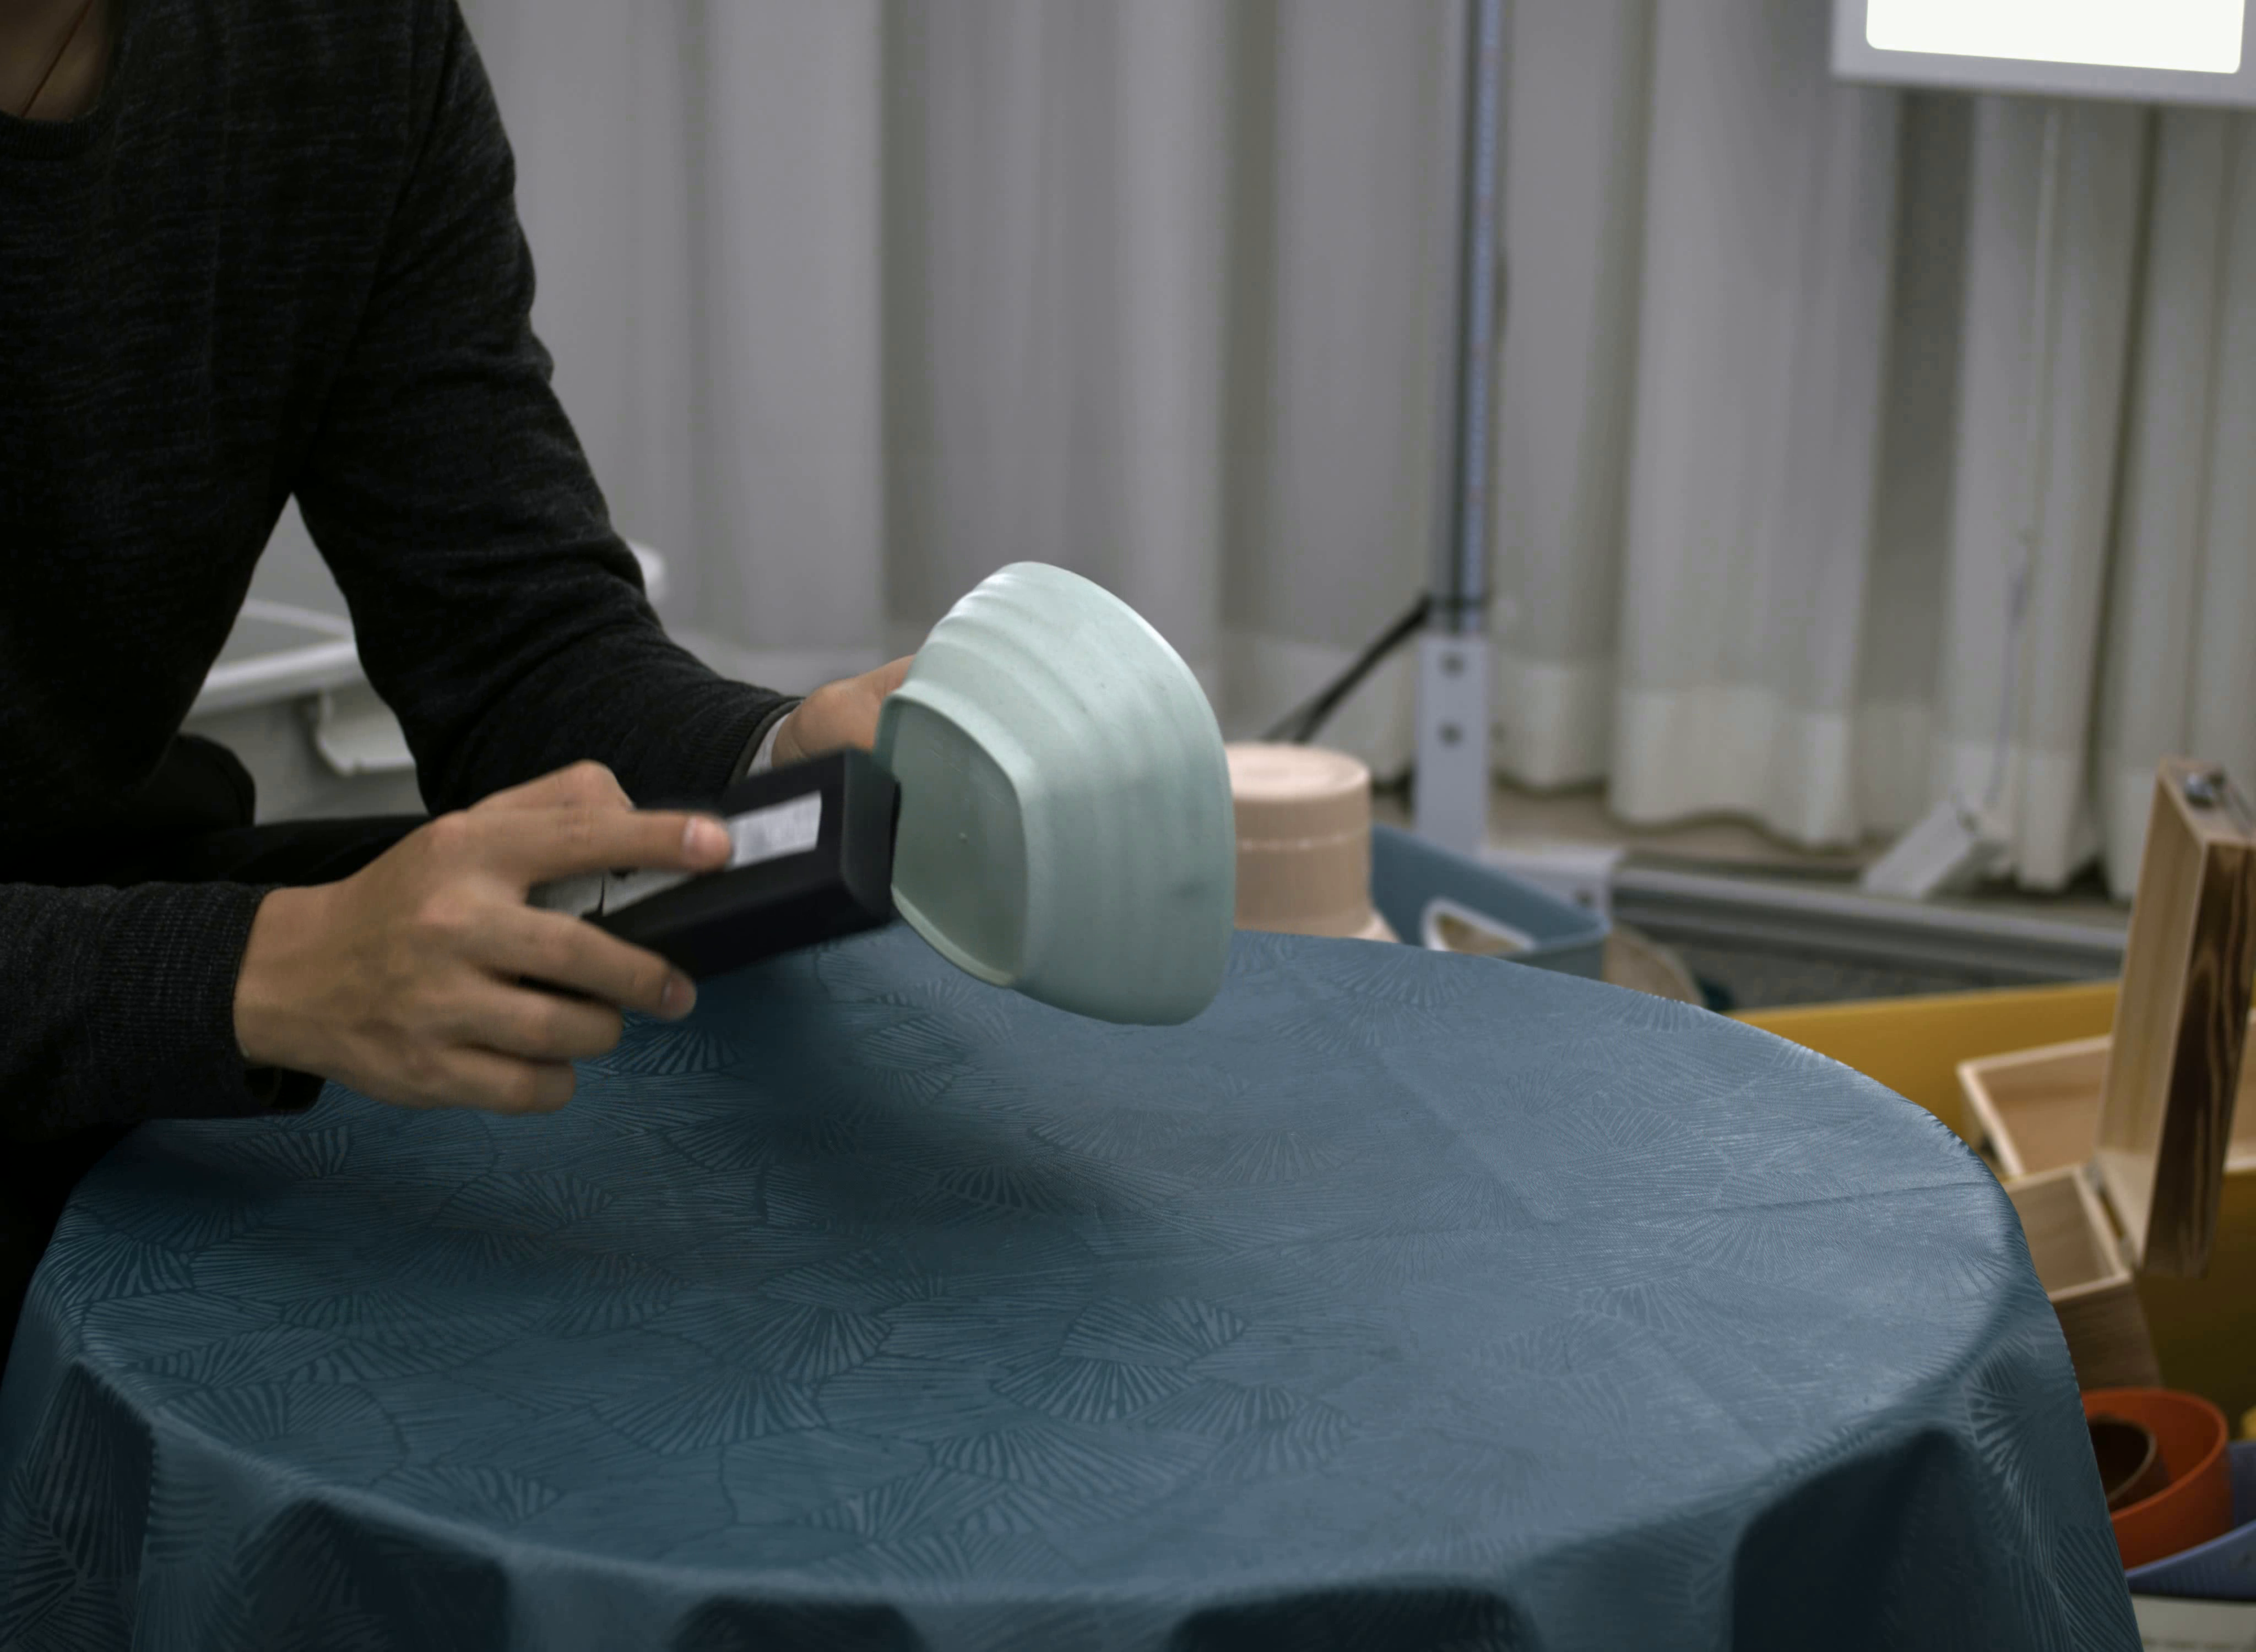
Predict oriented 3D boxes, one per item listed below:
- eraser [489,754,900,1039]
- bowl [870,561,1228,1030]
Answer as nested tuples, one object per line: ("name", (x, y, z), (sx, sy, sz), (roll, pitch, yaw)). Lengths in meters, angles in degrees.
("eraser", (-0.125, 0.020, 1.524), (0.124, 0.031, 0.053), (-17, 51, 23))
("bowl", (-0.032, -0.003, 1.591), (0.059, 0.153, 0.149), (-18, 24, -30))
